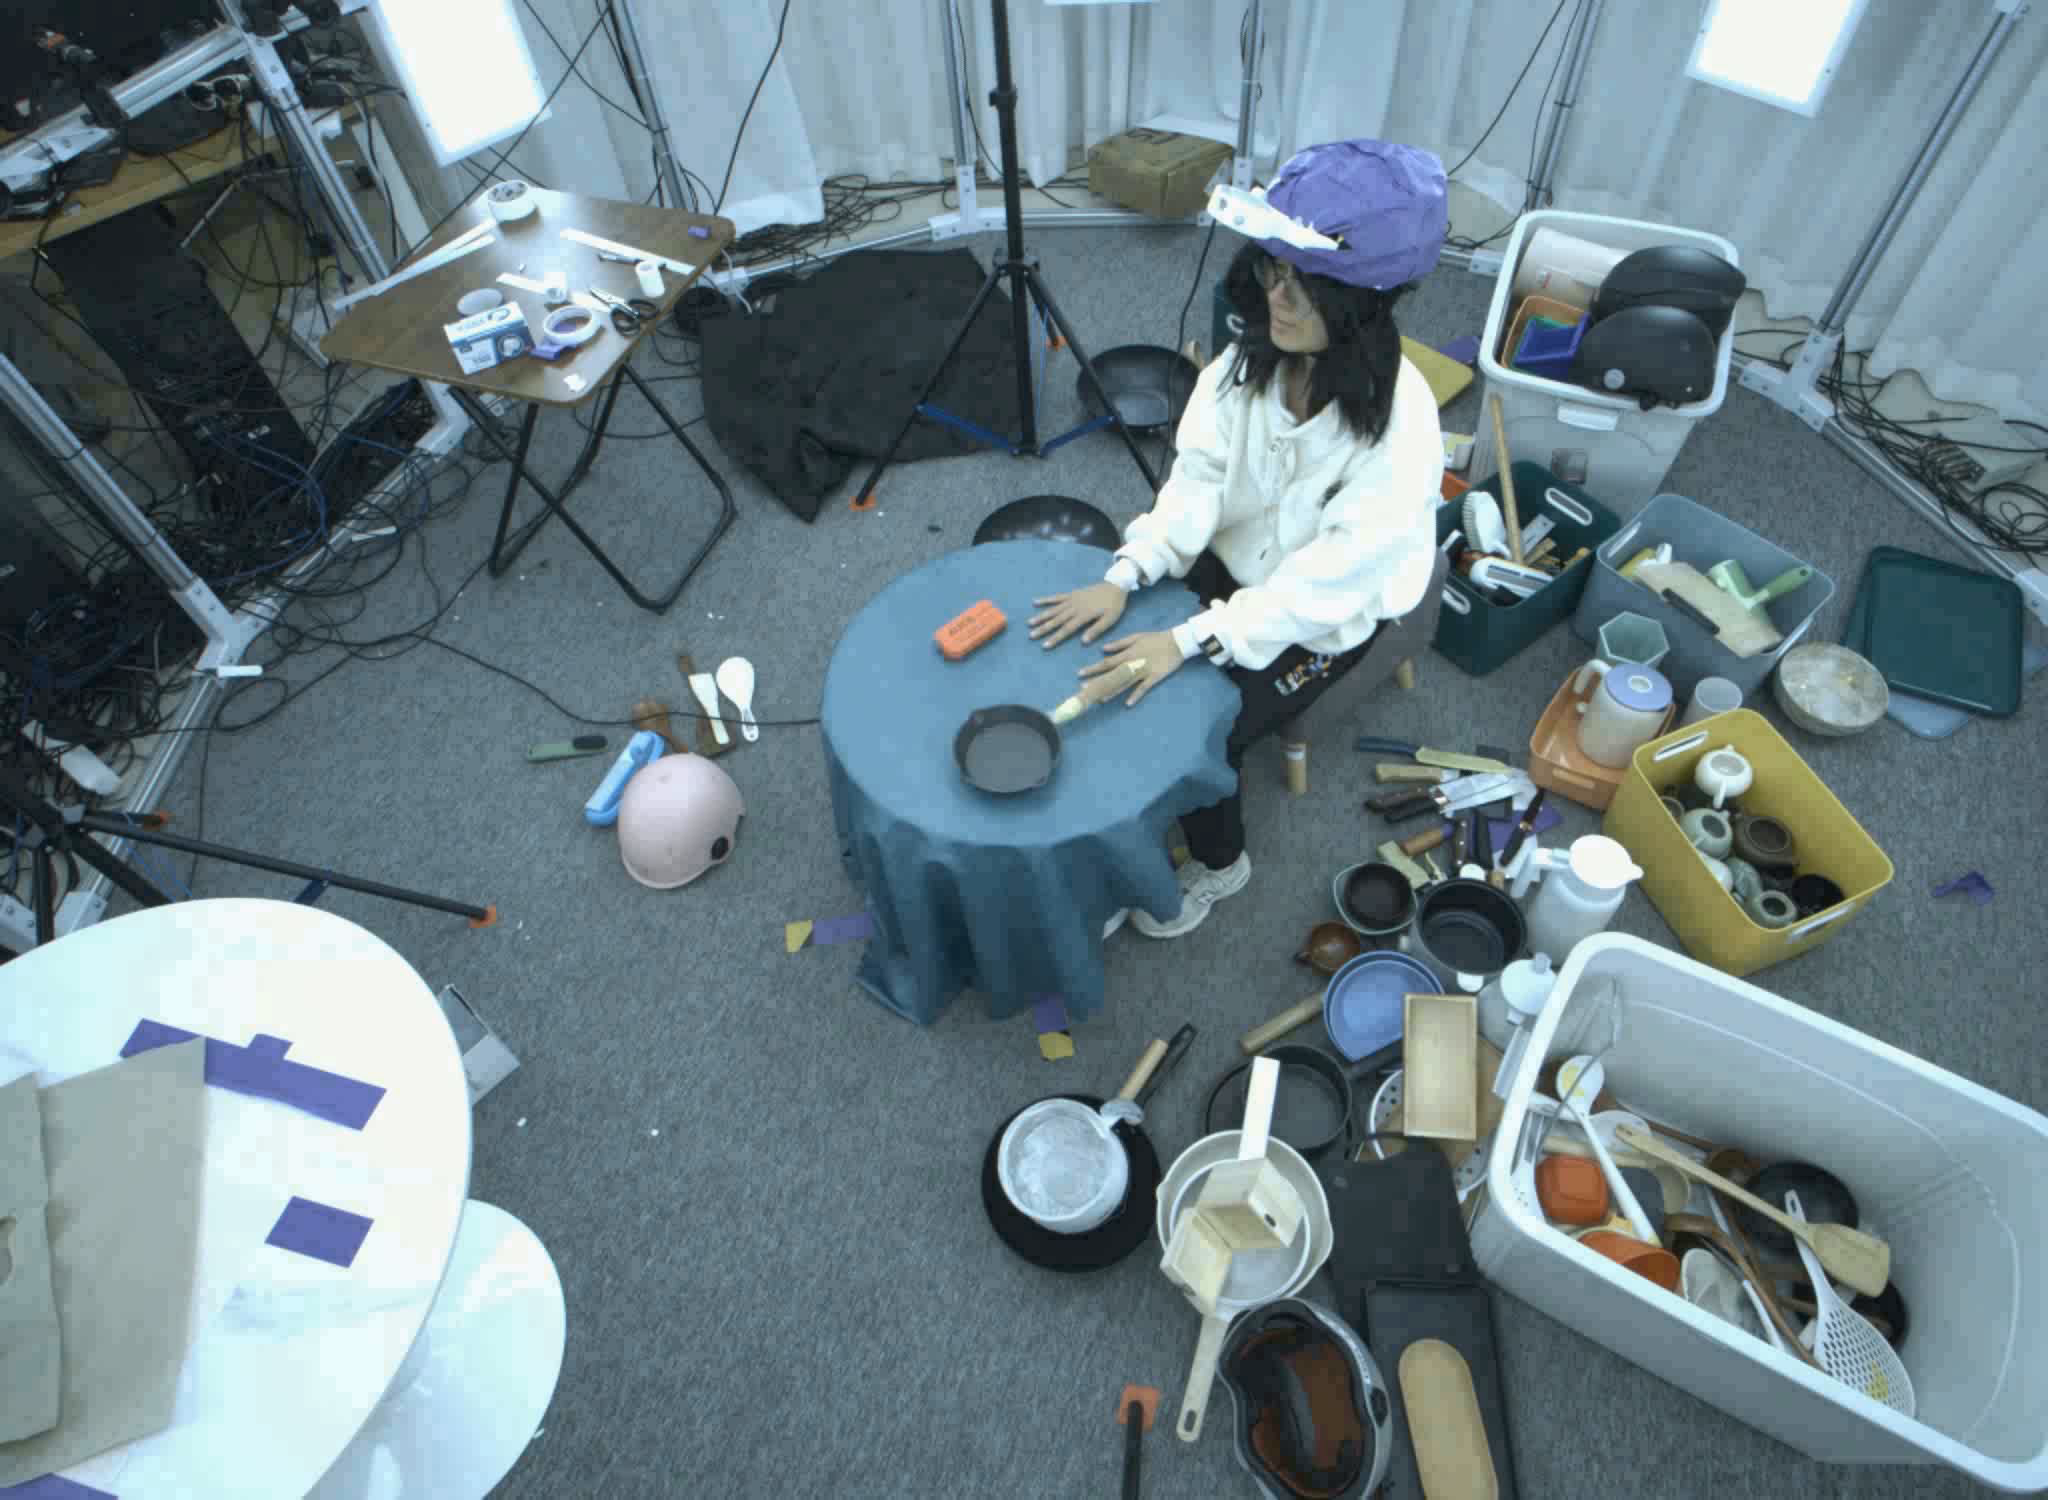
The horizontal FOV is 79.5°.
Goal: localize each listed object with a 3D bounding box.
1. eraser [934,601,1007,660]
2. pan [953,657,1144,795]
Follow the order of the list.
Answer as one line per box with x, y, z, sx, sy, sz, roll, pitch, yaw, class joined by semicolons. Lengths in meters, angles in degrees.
-0.083;-0.186;1.908;0.109;0.023;0.058;-37;61;-21;eraser
0.046;-0.043;1.786;0.326;0.050;0.166;-32;59;-17;pan
